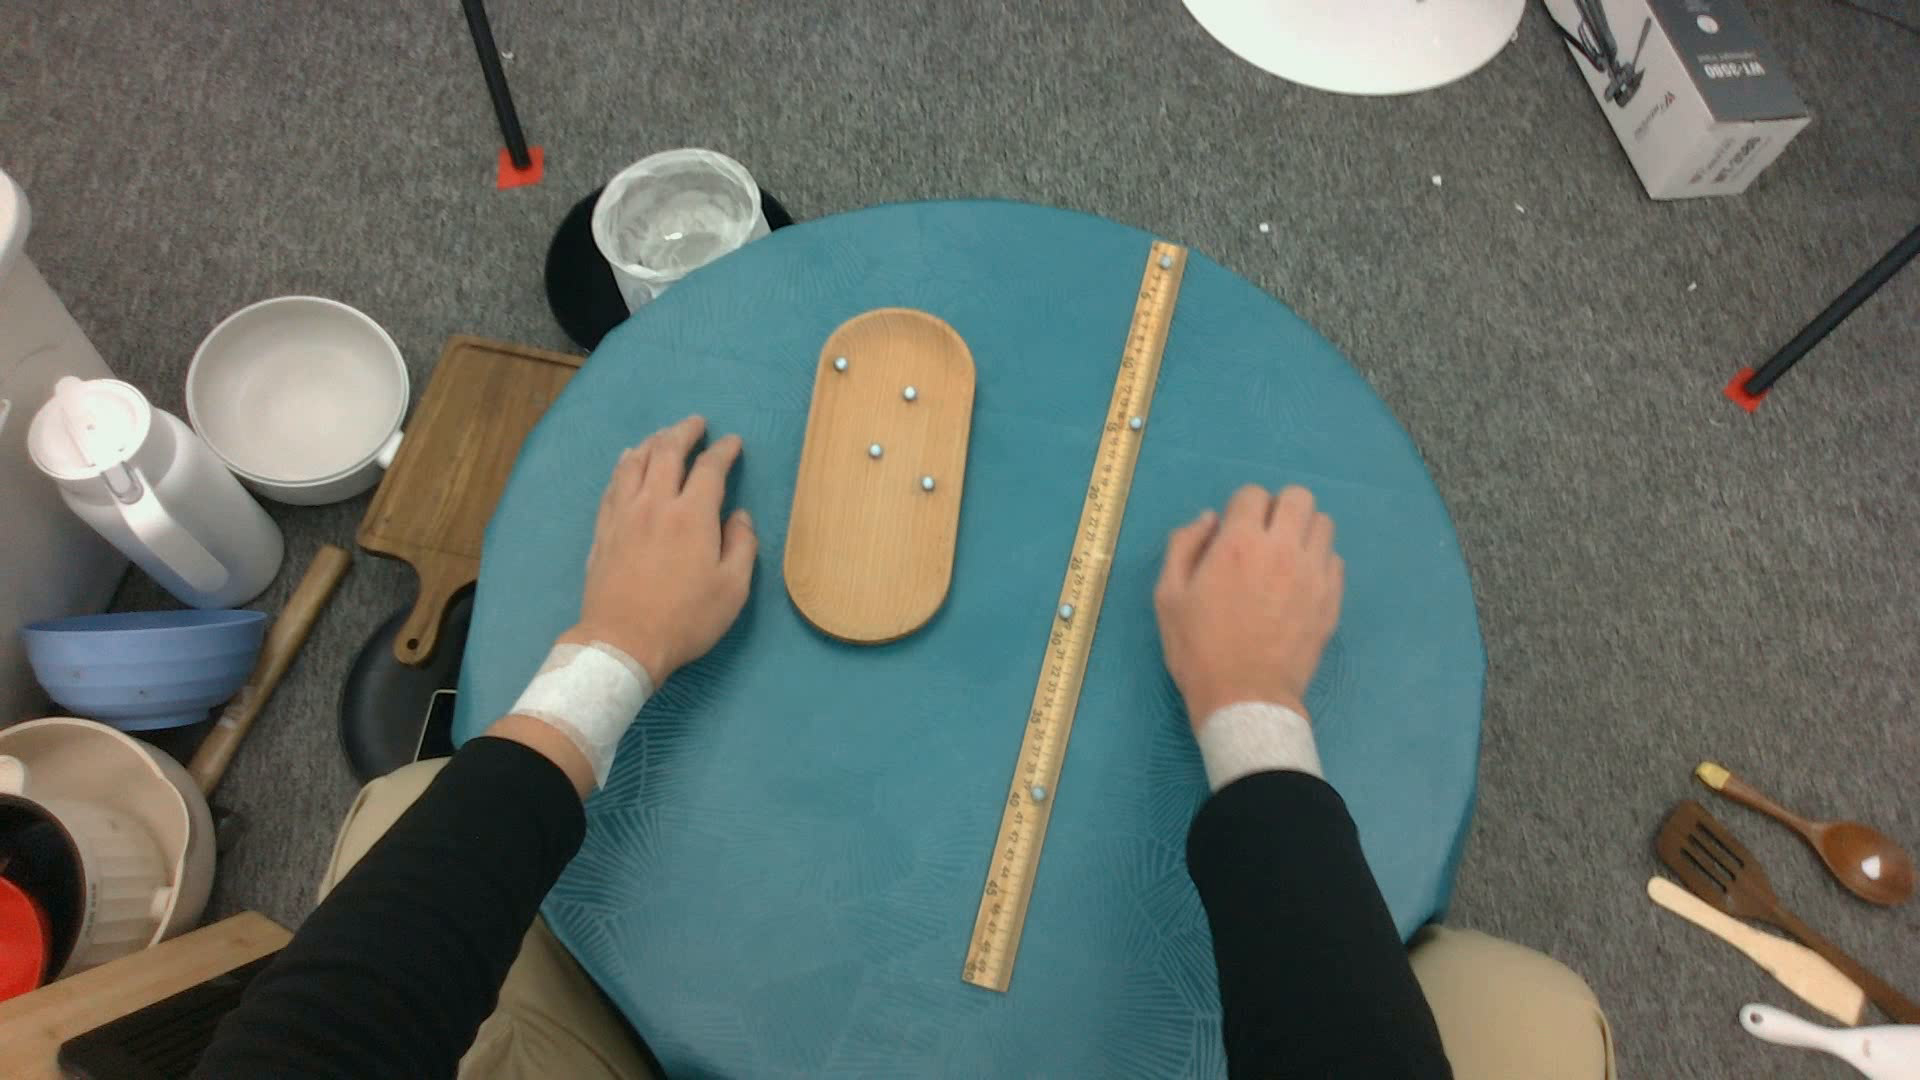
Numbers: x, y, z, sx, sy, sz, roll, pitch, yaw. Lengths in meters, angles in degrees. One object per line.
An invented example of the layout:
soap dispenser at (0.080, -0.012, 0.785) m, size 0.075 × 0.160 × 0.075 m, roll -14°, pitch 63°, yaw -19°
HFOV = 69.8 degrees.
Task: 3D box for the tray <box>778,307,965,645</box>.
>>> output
tray at (-0.052, -0.044, 0.846) m, size 0.101 × 0.020 × 0.232 m, roll 4°, pitch 66°, yaw 0°

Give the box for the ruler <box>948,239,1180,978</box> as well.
ruler at (0.071, 0.012, 0.833) m, size 0.027 × 0.006 × 0.502 m, roll 15°, pitch 64°, yaw 5°
